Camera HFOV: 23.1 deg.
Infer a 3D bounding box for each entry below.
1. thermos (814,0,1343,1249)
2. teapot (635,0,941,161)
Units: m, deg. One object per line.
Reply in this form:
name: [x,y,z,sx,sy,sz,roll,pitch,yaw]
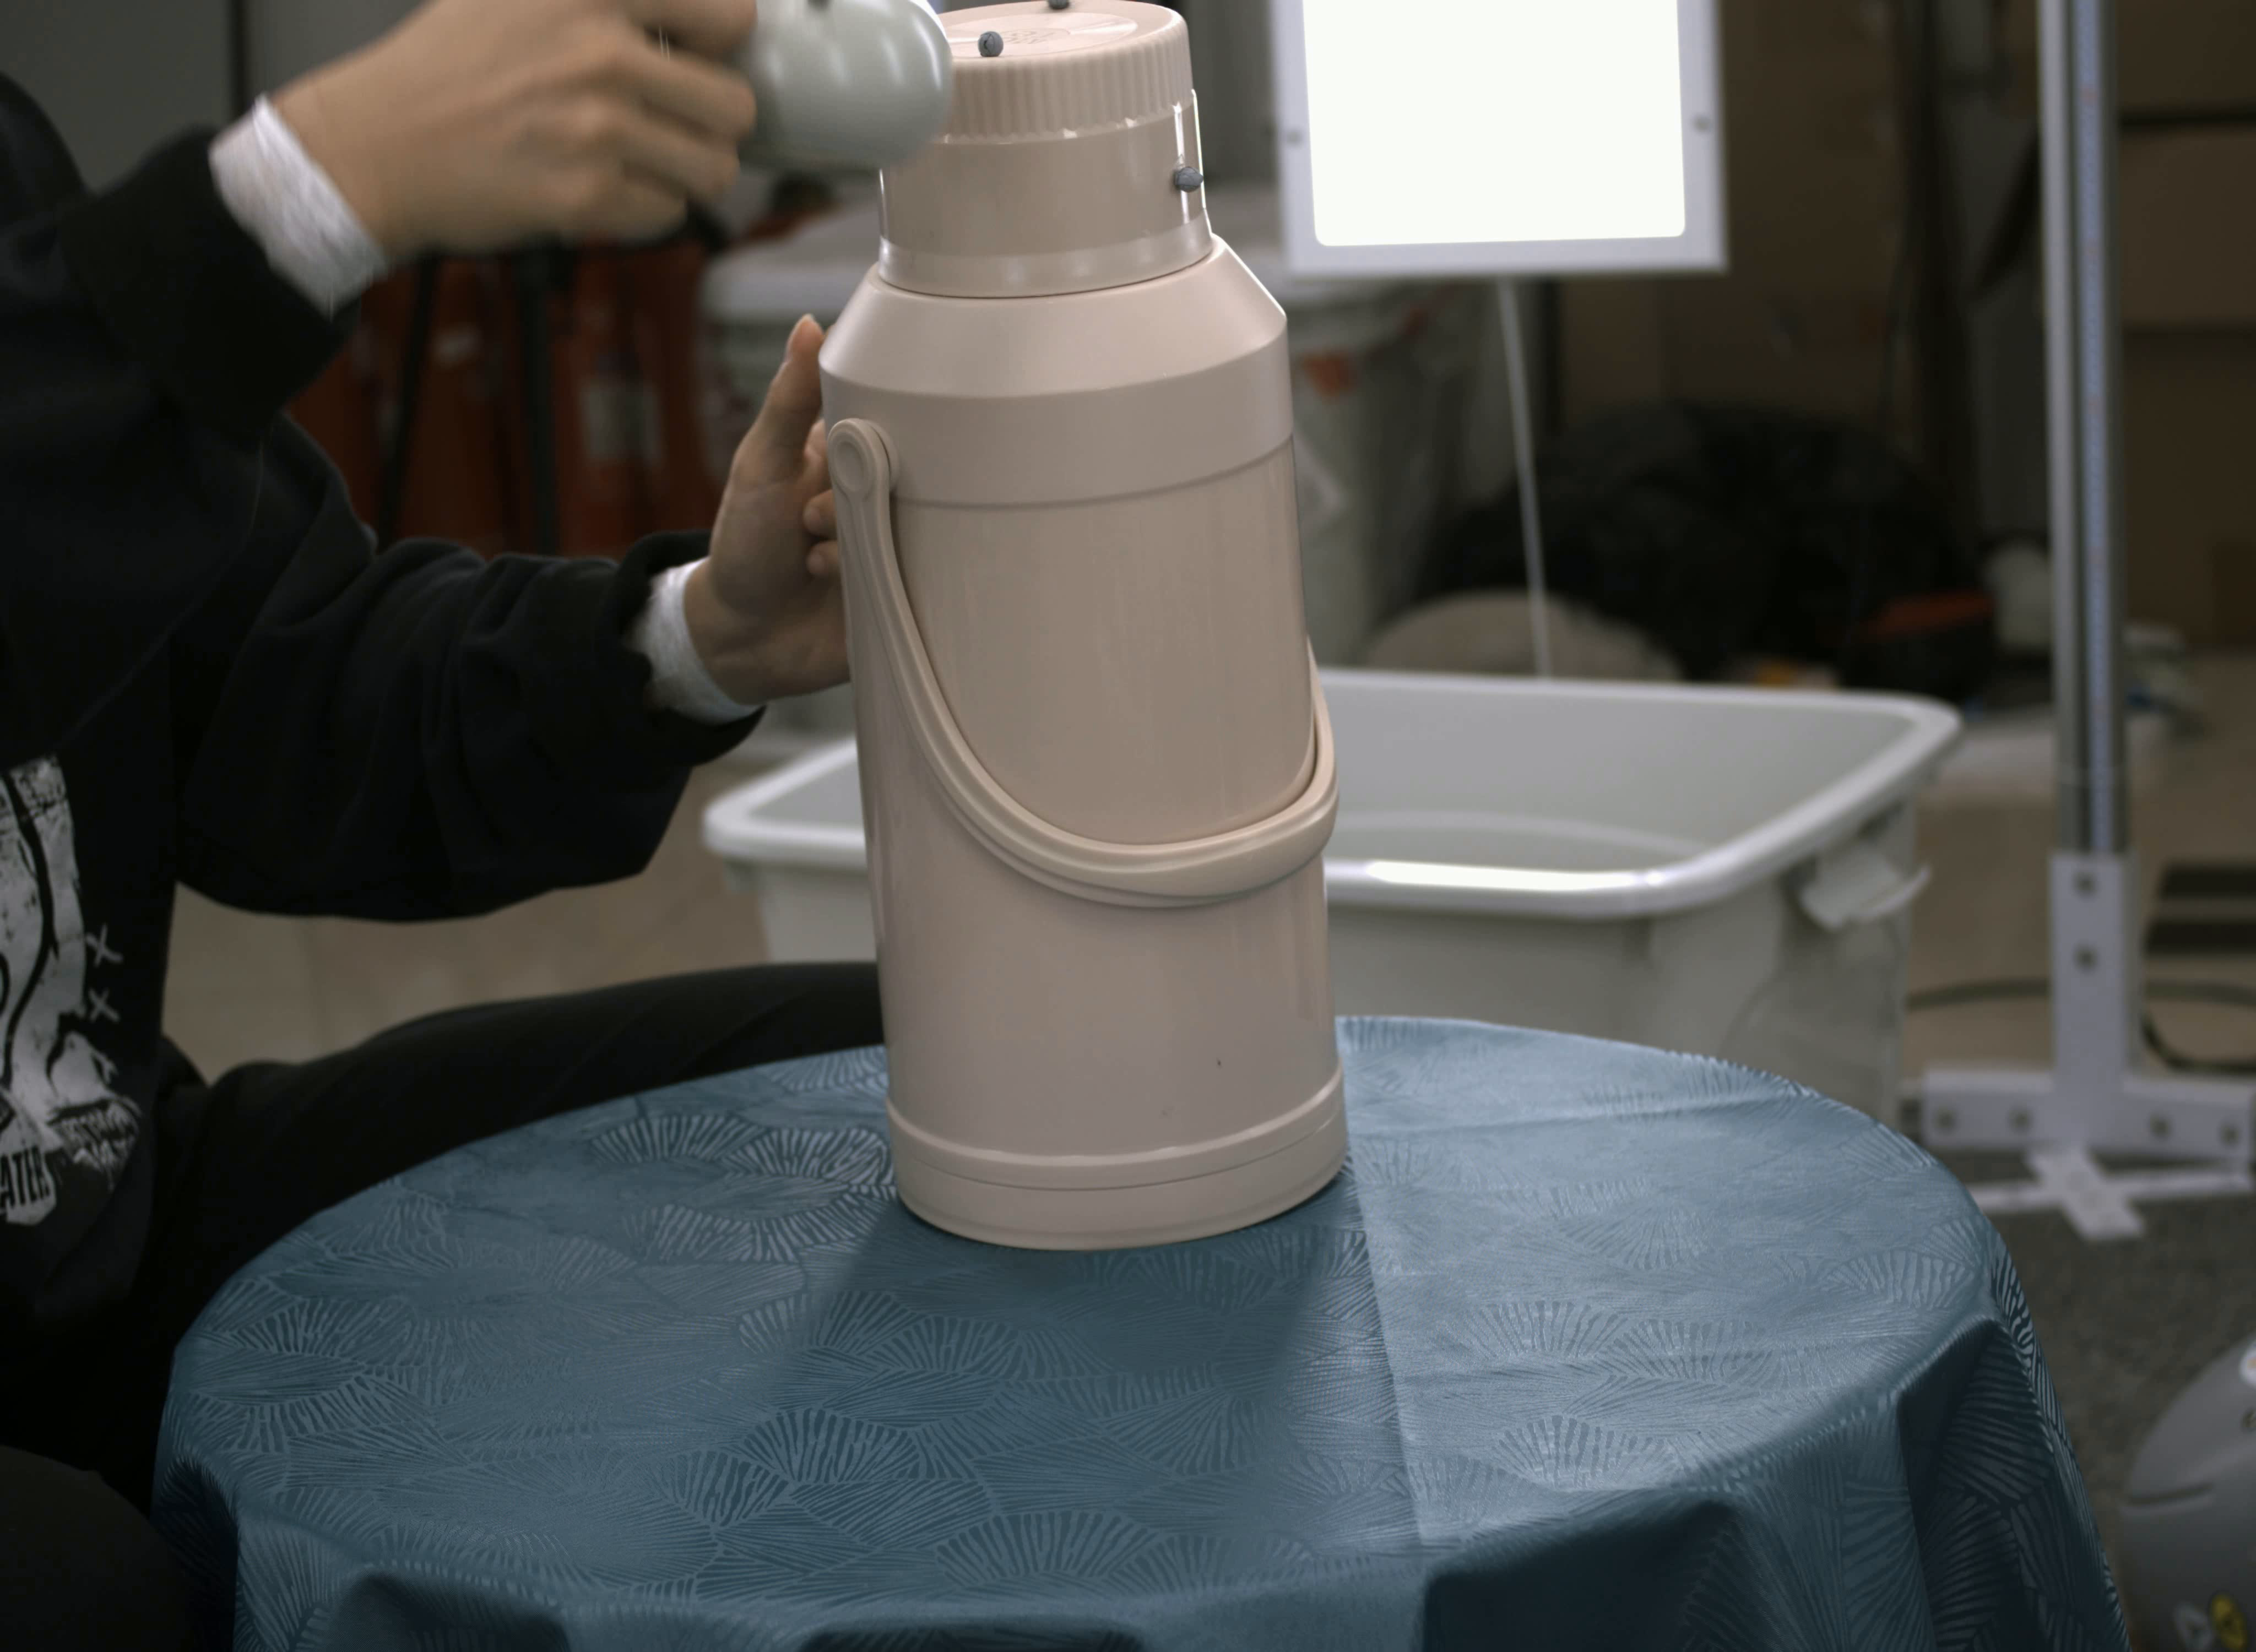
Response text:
thermos: [-0.027,-0.073,1.864,0.171,0.408,0.211,-21,24,-36]
teapot: [-0.107,-0.238,1.678,0.093,0.060,0.125,10,0,34]
